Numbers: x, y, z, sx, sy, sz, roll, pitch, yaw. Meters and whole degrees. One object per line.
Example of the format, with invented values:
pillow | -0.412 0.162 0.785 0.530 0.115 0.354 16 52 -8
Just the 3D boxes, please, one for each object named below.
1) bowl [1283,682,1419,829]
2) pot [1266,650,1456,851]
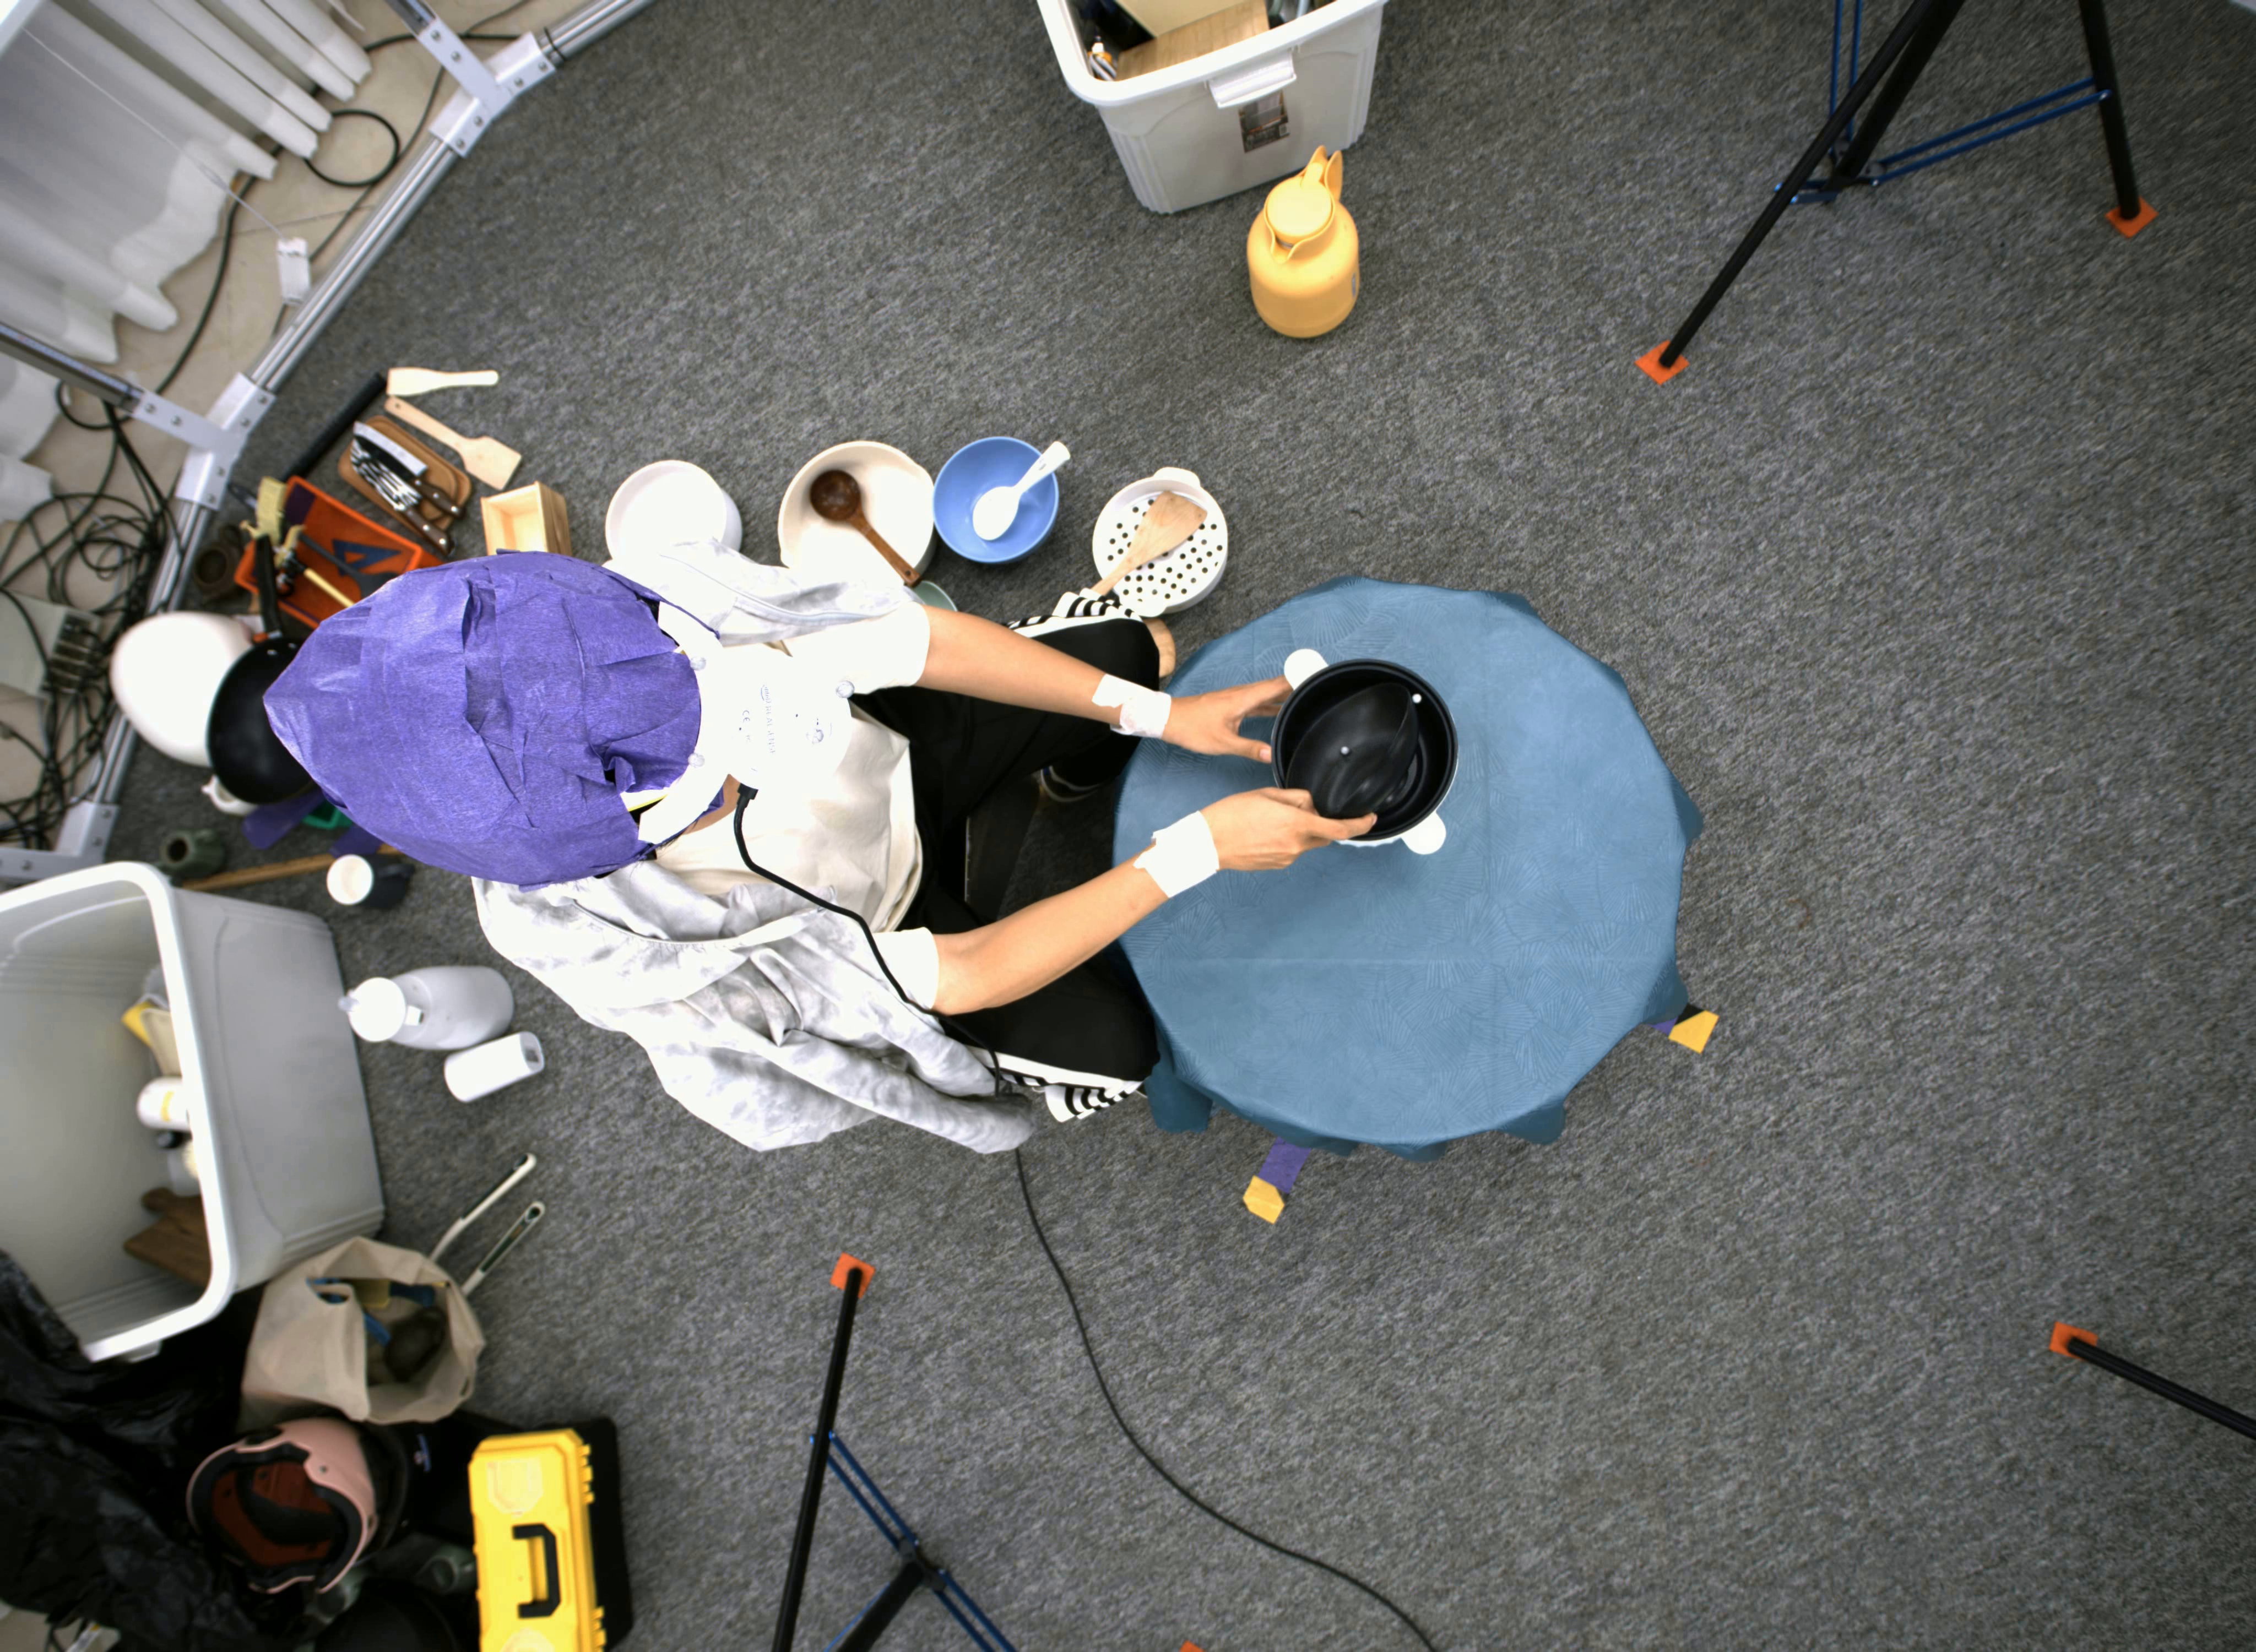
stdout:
bowl | 0.223 -0.059 1.316 0.067 0.138 0.167 42 65 -27
pot | 0.243 -0.074 1.401 0.192 0.142 0.239 -37 81 9
